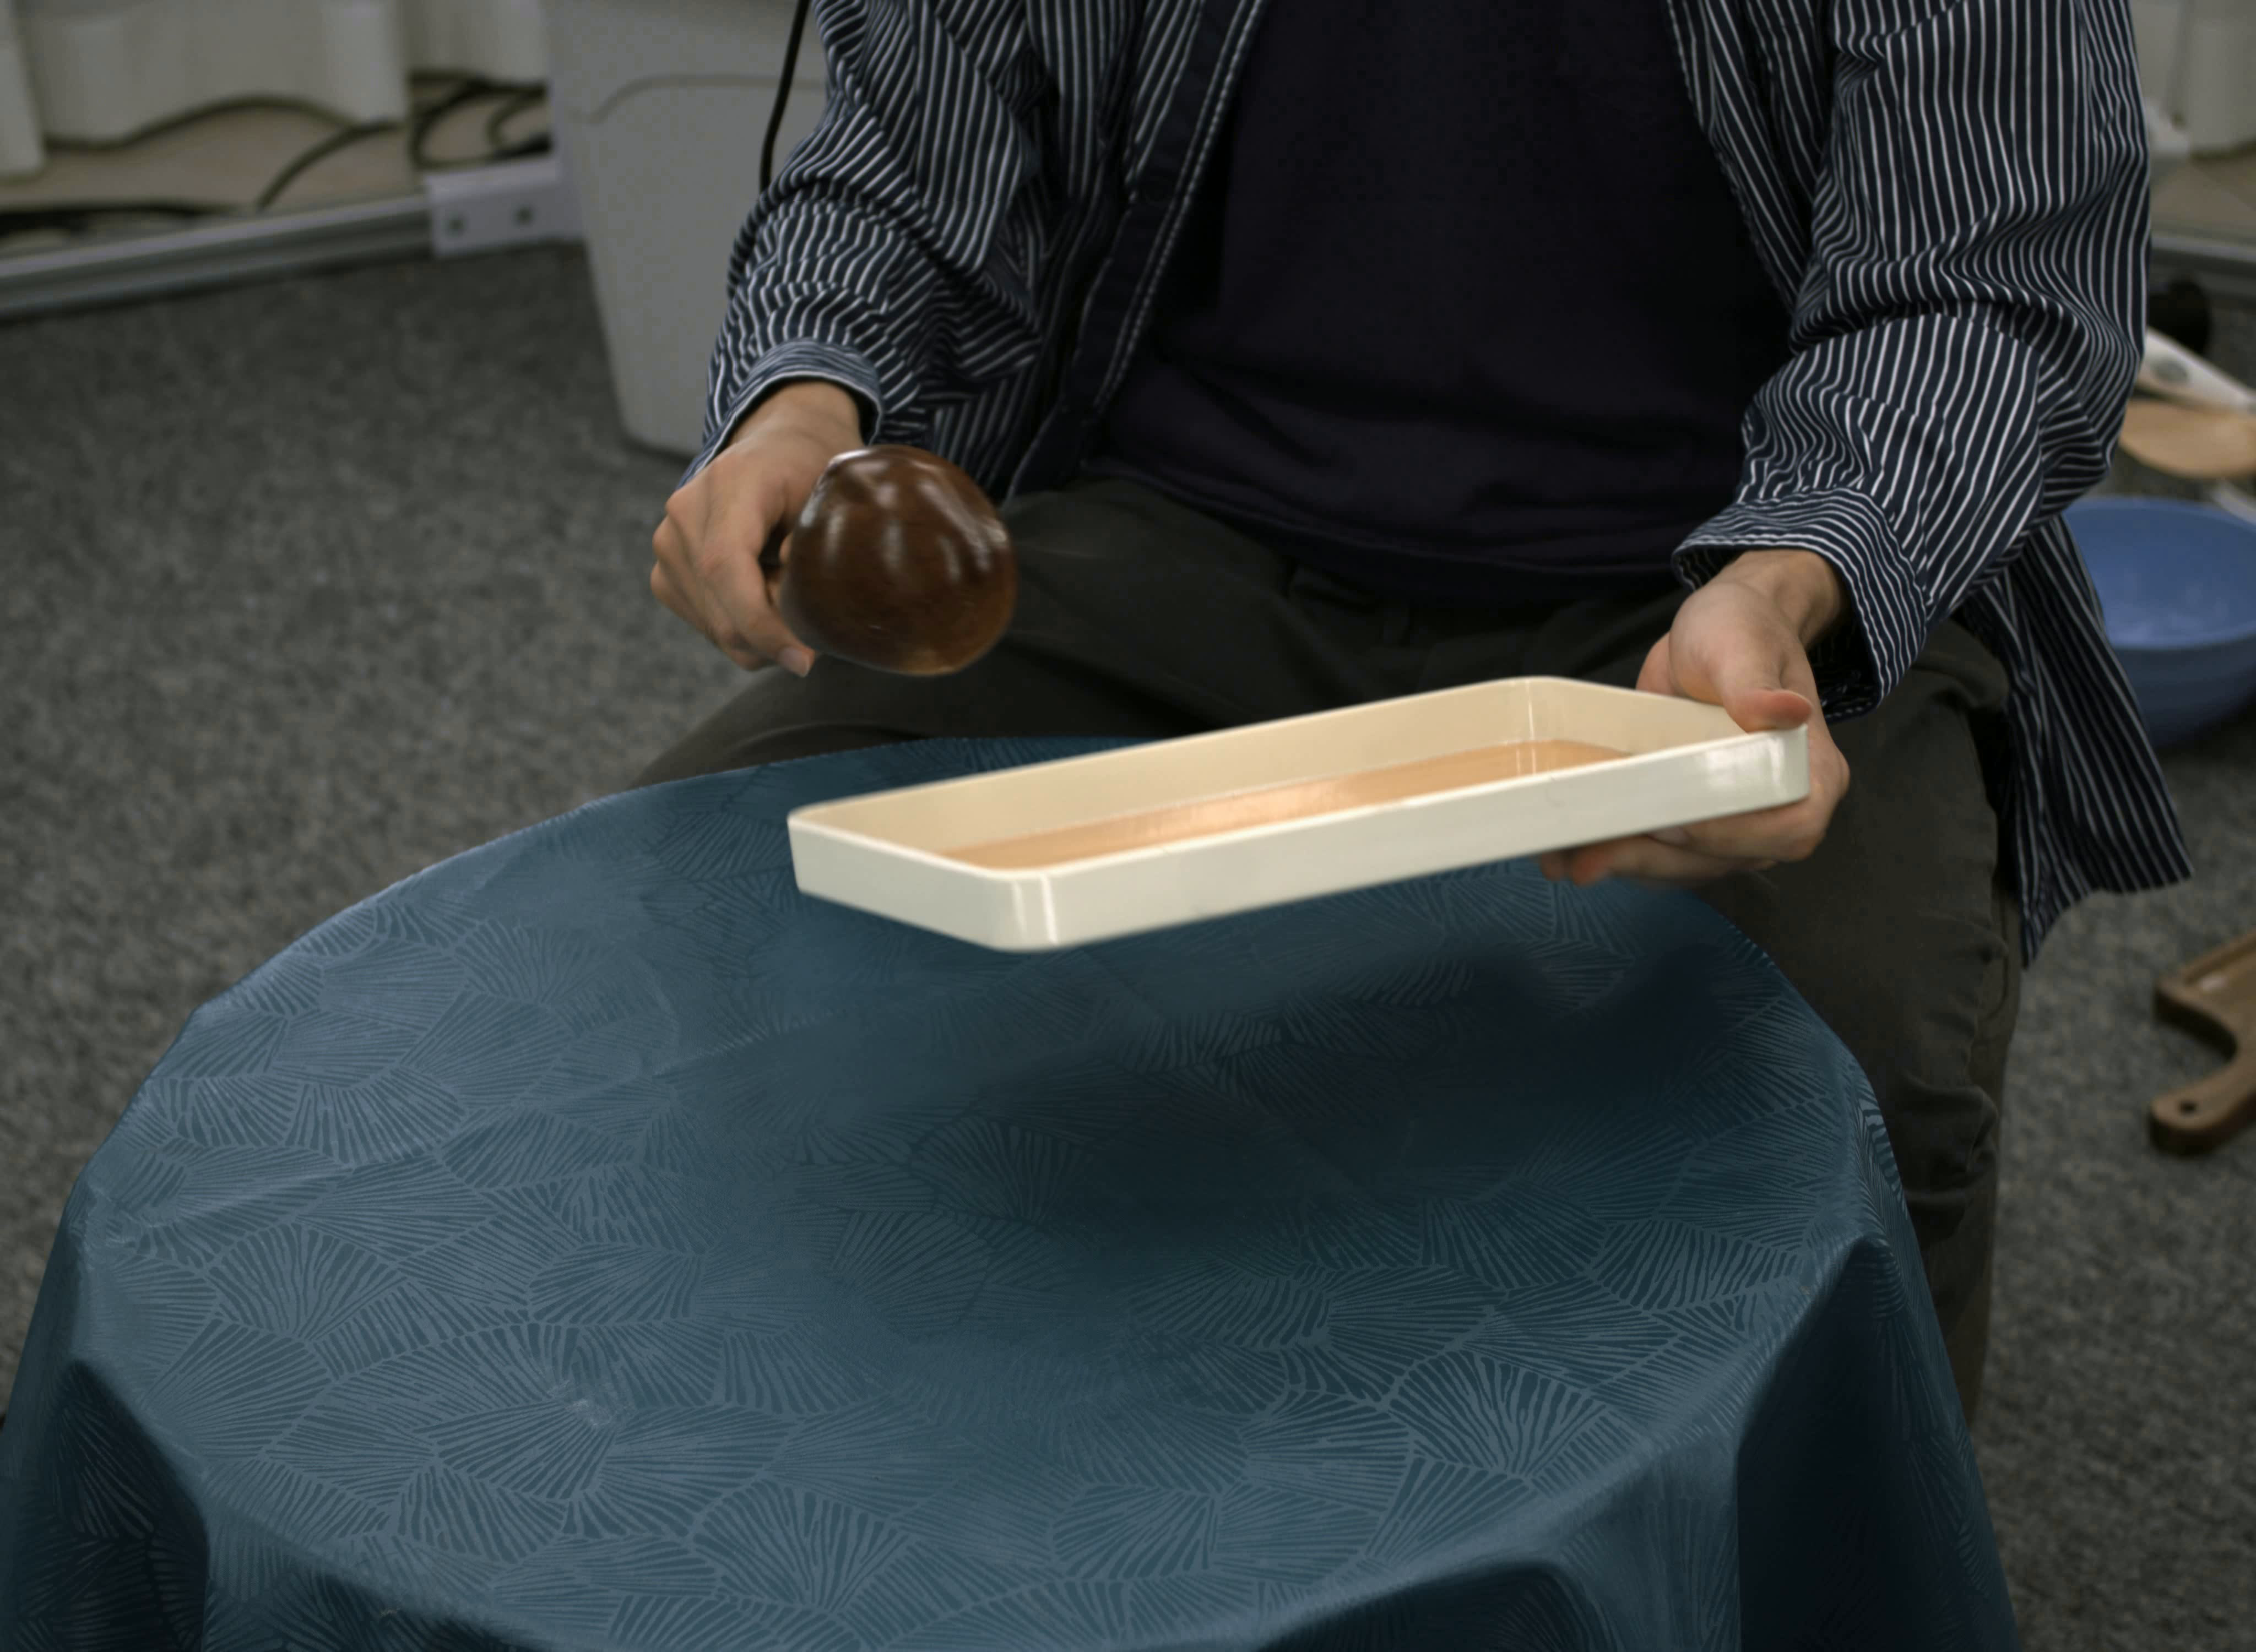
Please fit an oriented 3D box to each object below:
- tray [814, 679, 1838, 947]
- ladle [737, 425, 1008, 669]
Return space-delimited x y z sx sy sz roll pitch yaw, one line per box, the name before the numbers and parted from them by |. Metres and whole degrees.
tray | 0.064 -0.007 1.859 0.301 0.027 0.191 -10 10 -25
ladle | -0.093 -0.093 1.951 0.076 0.082 0.273 -26 4 -6
